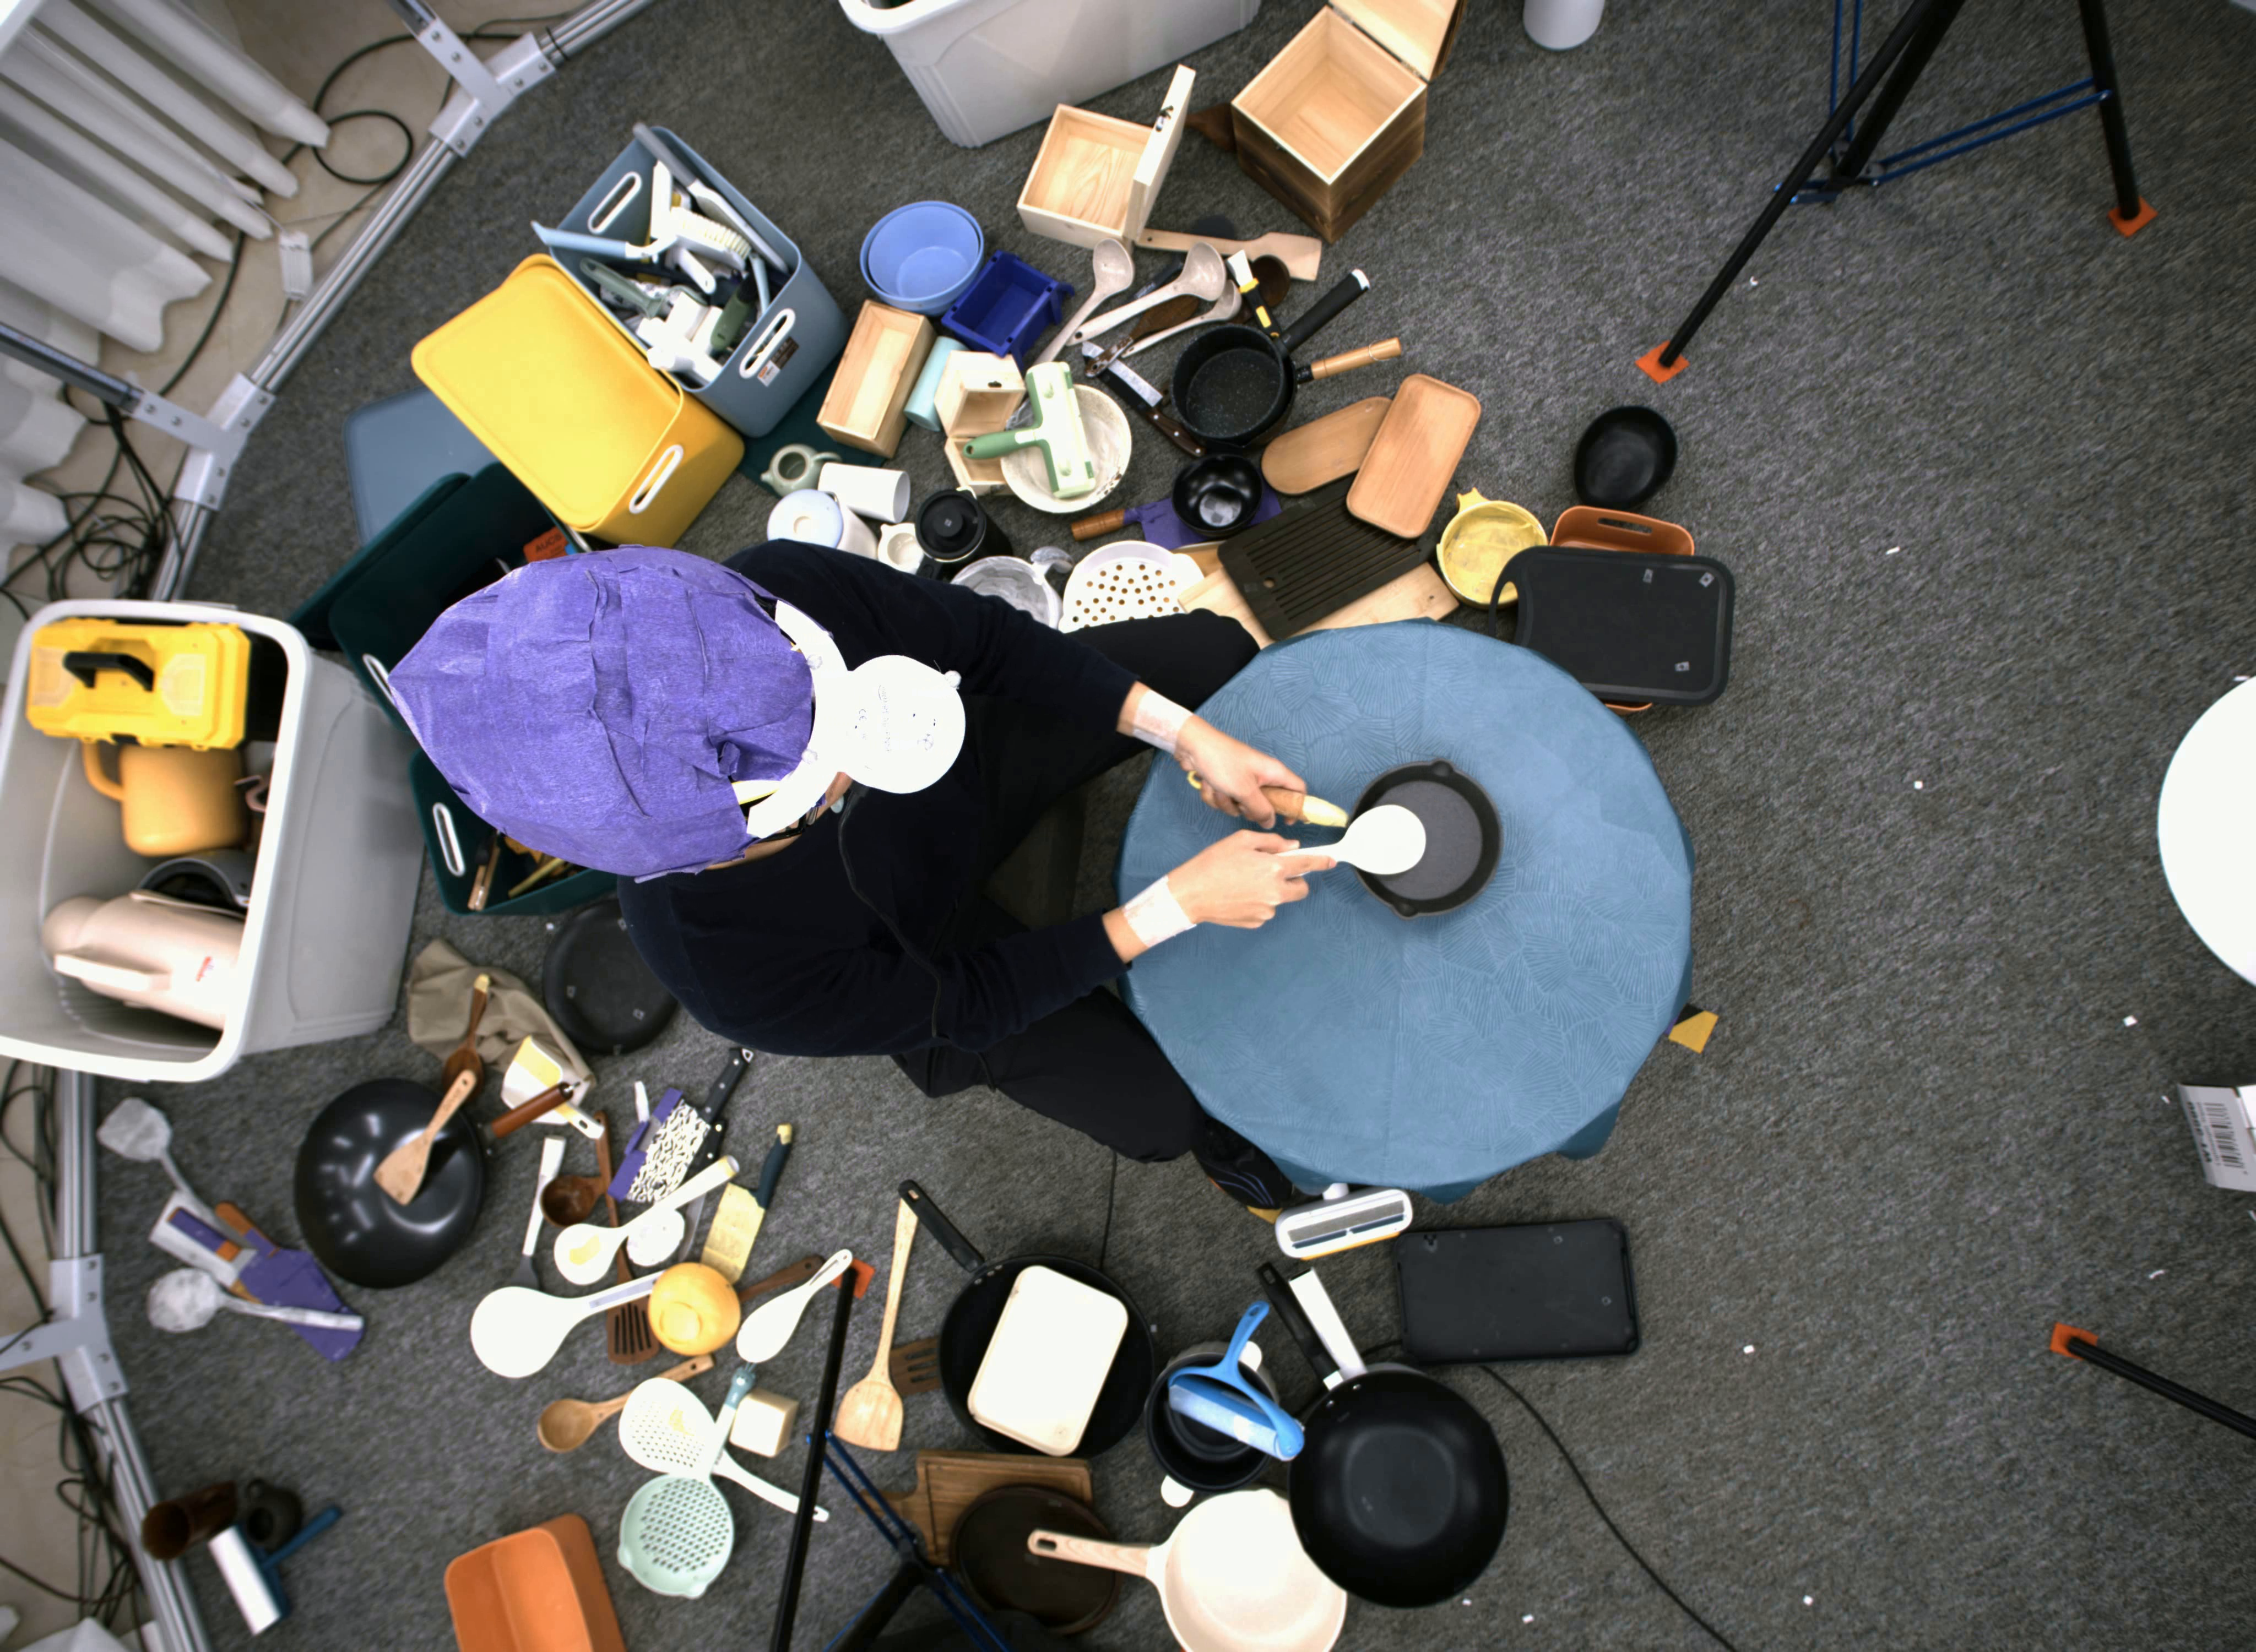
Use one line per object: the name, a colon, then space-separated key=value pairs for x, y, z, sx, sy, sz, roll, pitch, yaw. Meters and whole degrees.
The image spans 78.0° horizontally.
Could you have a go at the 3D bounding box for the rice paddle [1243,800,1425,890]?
rice paddle: x=0.212 y=0.021 z=1.378 sx=0.204 sy=0.030 sz=0.068 roll=-15 pitch=85 yaw=-18

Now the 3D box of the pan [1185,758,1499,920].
pan: x=0.216 y=-0.012 z=1.406 sx=0.324 sy=0.049 sz=0.169 roll=17 pitch=90 yaw=5
